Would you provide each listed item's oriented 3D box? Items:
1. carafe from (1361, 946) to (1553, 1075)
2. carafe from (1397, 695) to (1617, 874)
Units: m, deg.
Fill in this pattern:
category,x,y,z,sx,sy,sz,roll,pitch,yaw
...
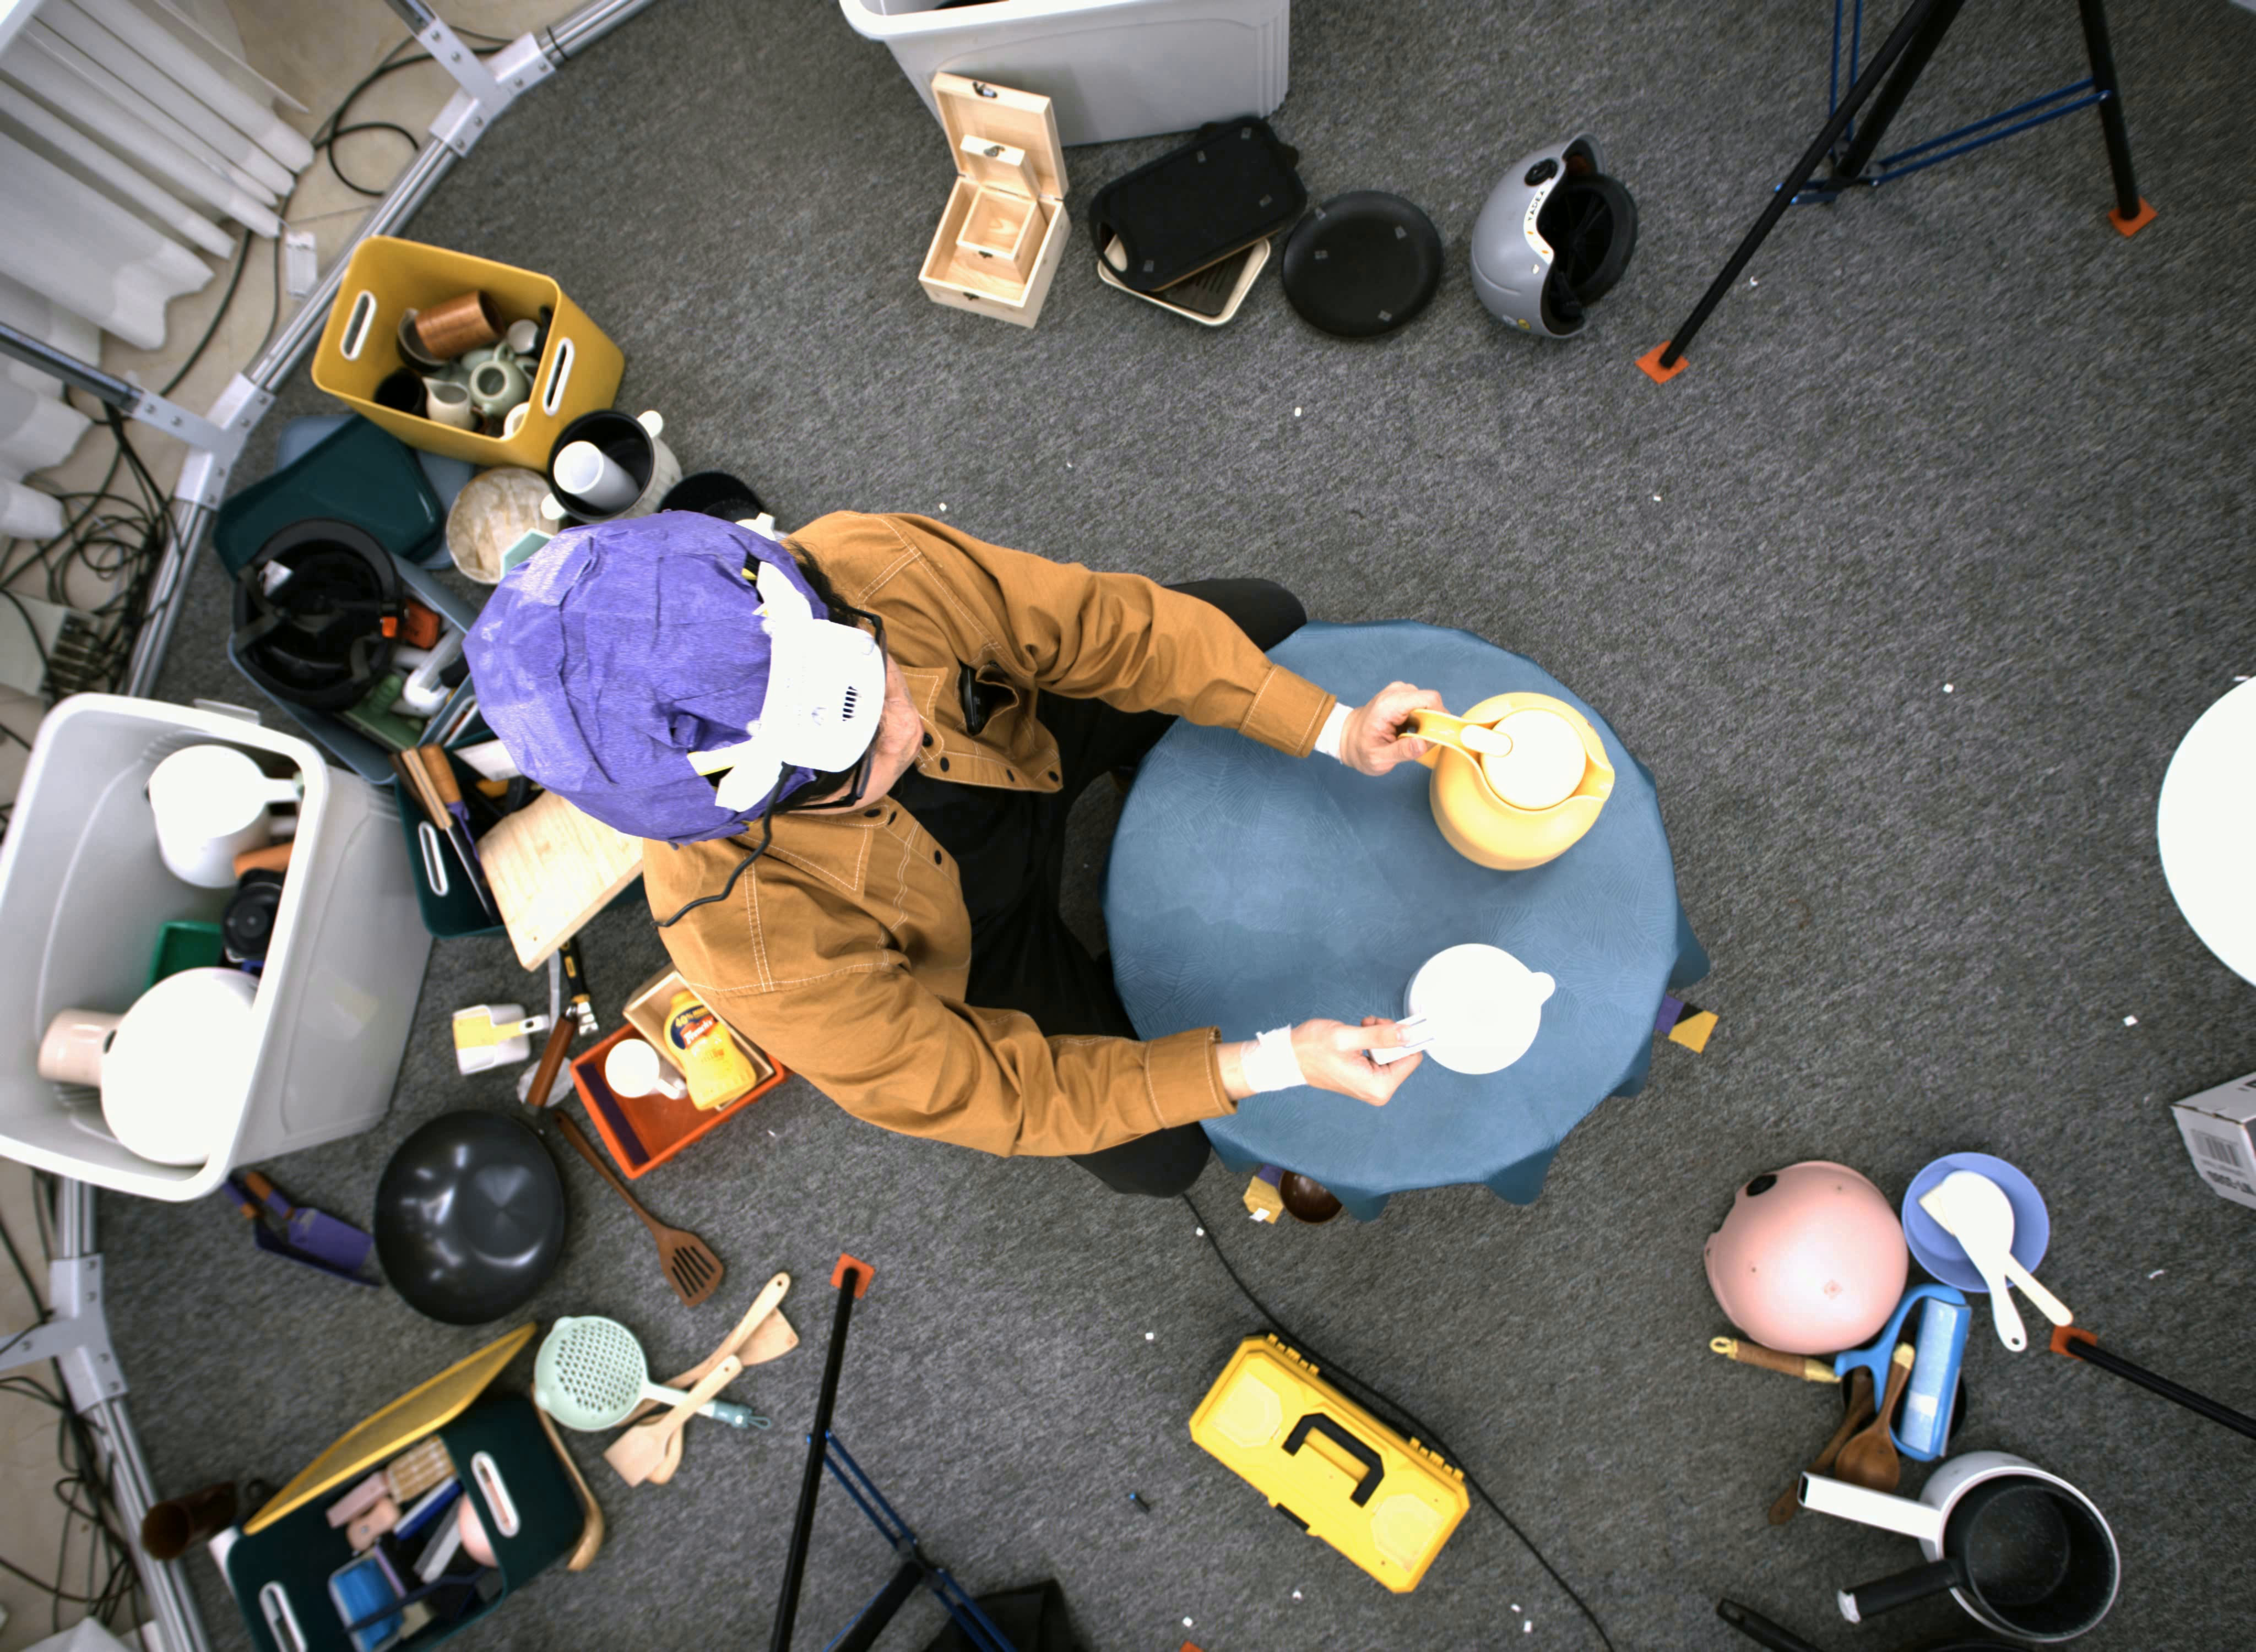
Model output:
category,x,y,z,sx,sy,sz,roll,pitch,yaw
carafe,0.308,0.180,1.313,0.174,0.269,0.123,-23,83,8
carafe,0.357,-0.054,1.317,0.202,0.261,0.163,24,87,10
